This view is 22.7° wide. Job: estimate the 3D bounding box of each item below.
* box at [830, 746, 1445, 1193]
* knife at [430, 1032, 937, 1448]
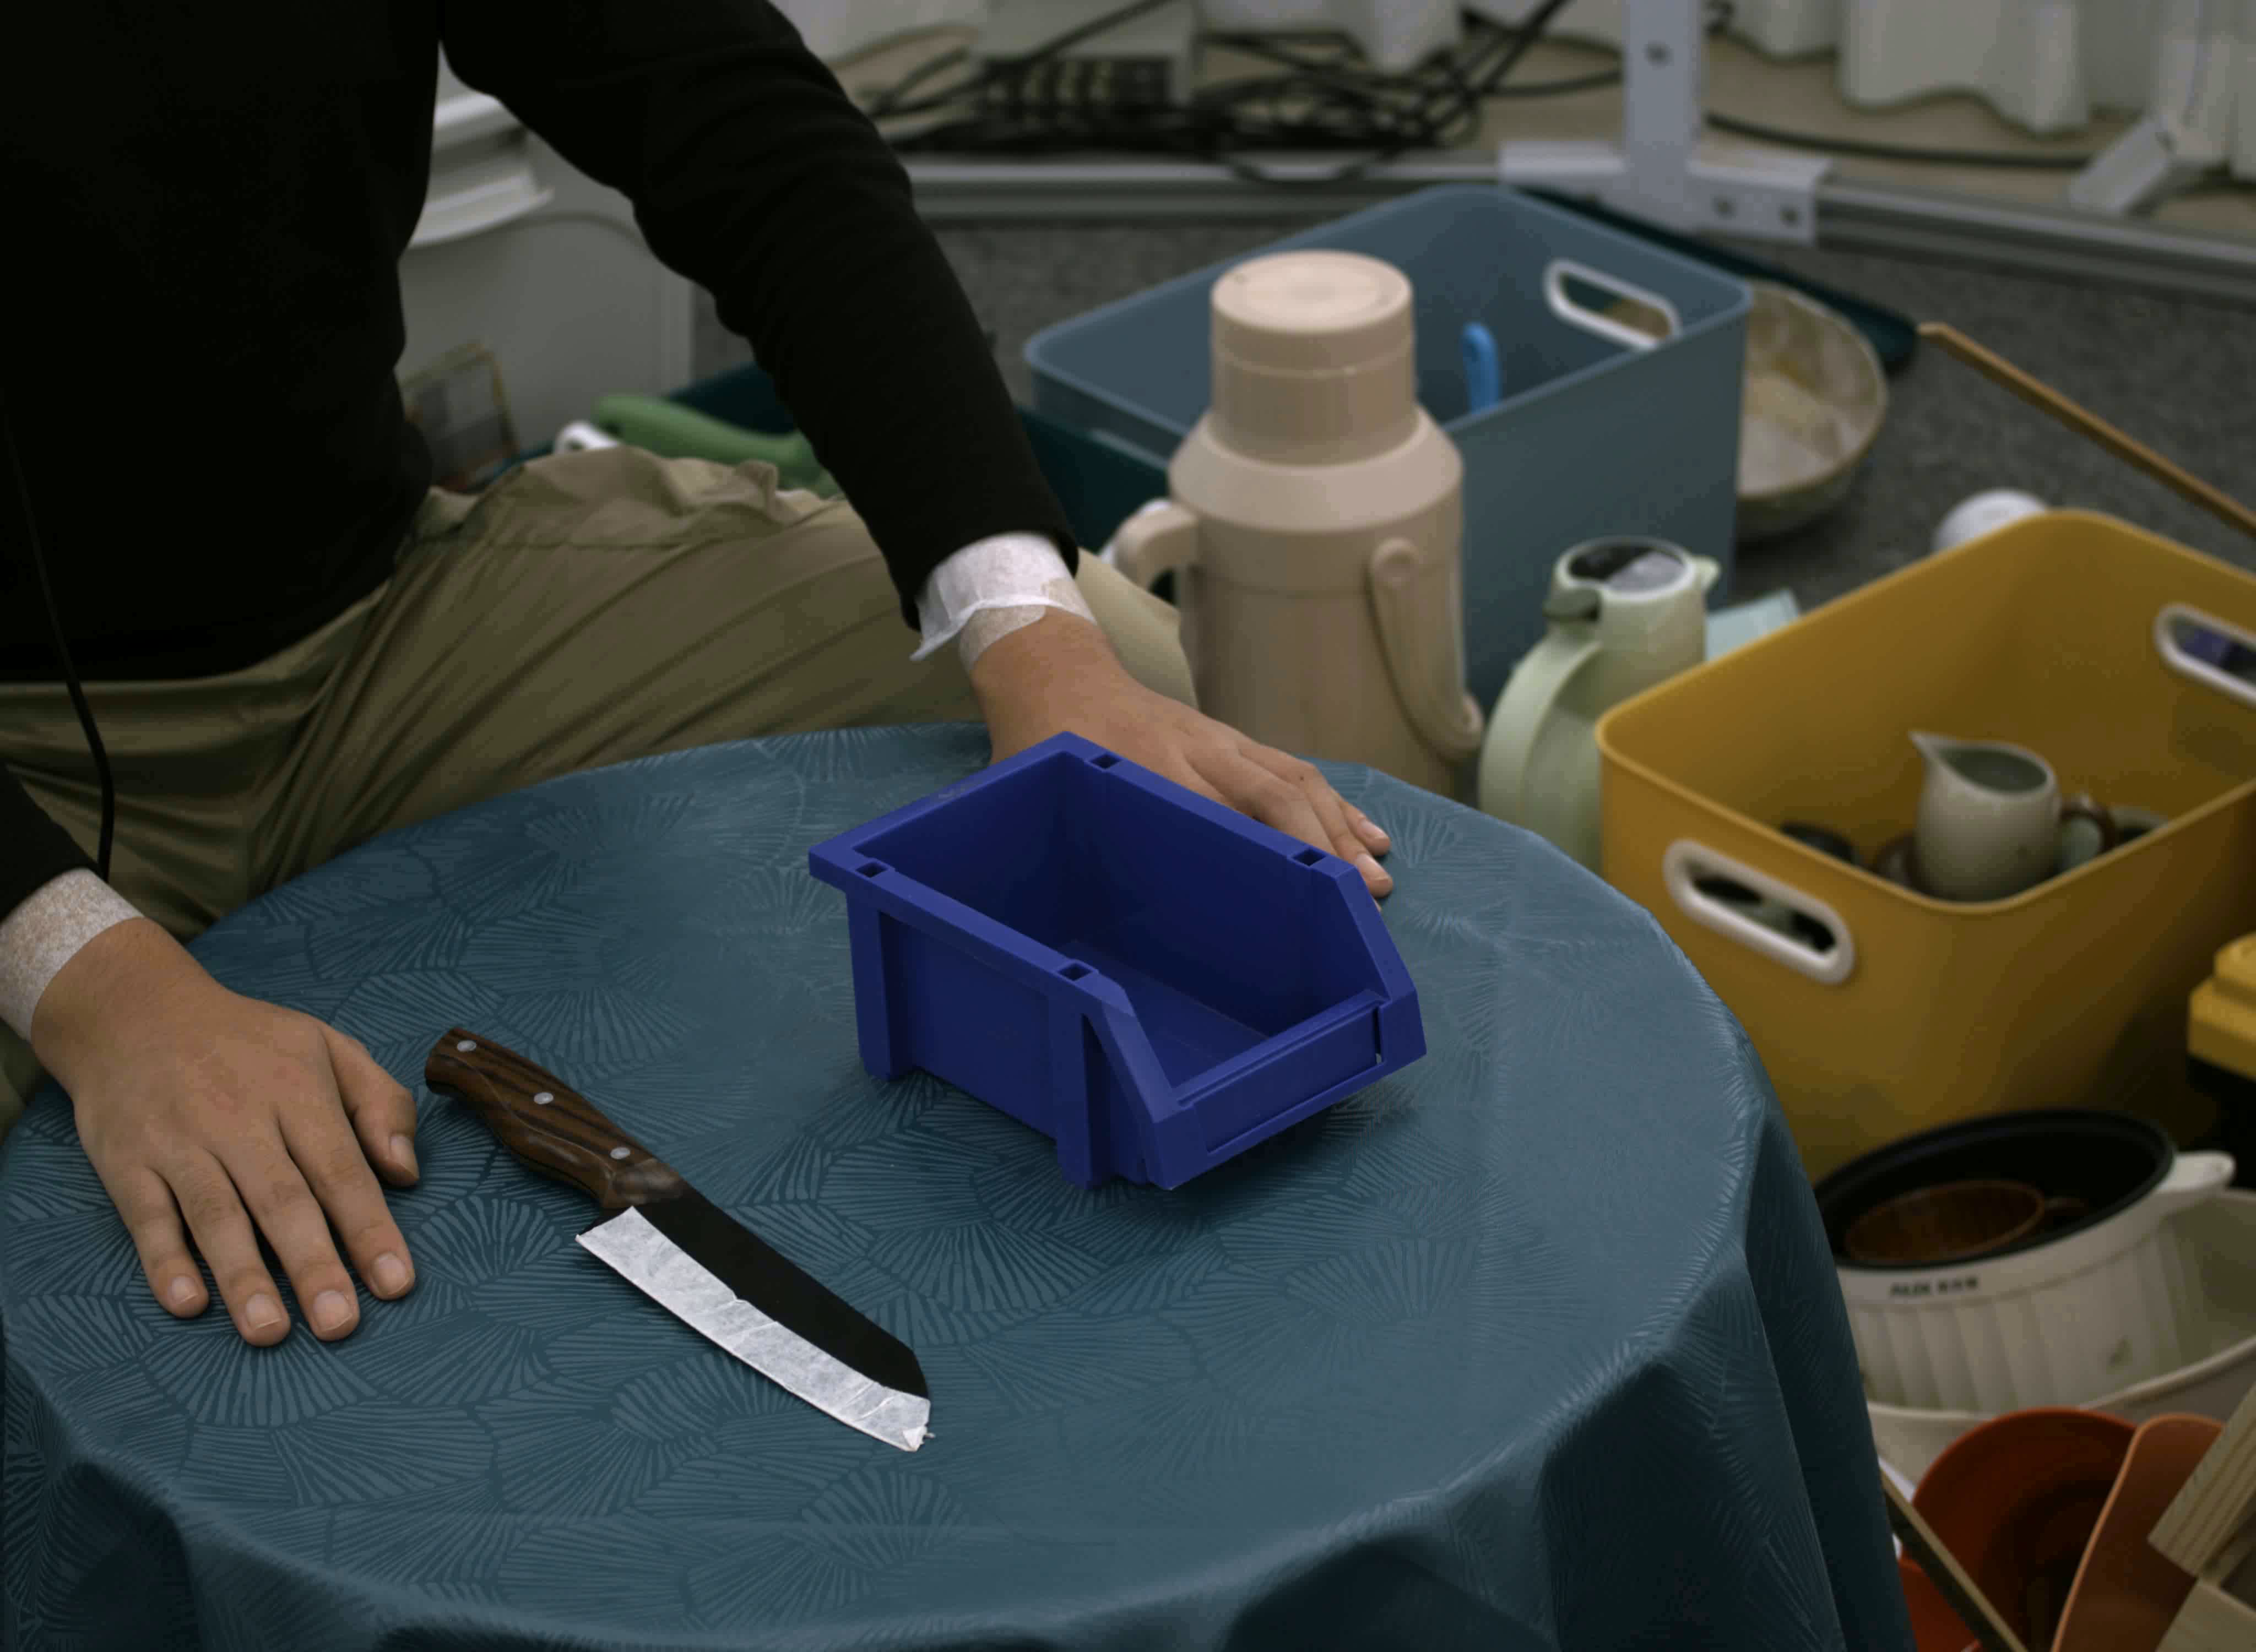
[{"bbox_3d":[0.004,0.052,1.908,0.126,0.081,0.179,-23,31,-35],"label":"box"},{"bbox_3d":[-0.148,0.135,1.834,0.051,0.020,0.290,-25,37,-28],"label":"knife"}]
